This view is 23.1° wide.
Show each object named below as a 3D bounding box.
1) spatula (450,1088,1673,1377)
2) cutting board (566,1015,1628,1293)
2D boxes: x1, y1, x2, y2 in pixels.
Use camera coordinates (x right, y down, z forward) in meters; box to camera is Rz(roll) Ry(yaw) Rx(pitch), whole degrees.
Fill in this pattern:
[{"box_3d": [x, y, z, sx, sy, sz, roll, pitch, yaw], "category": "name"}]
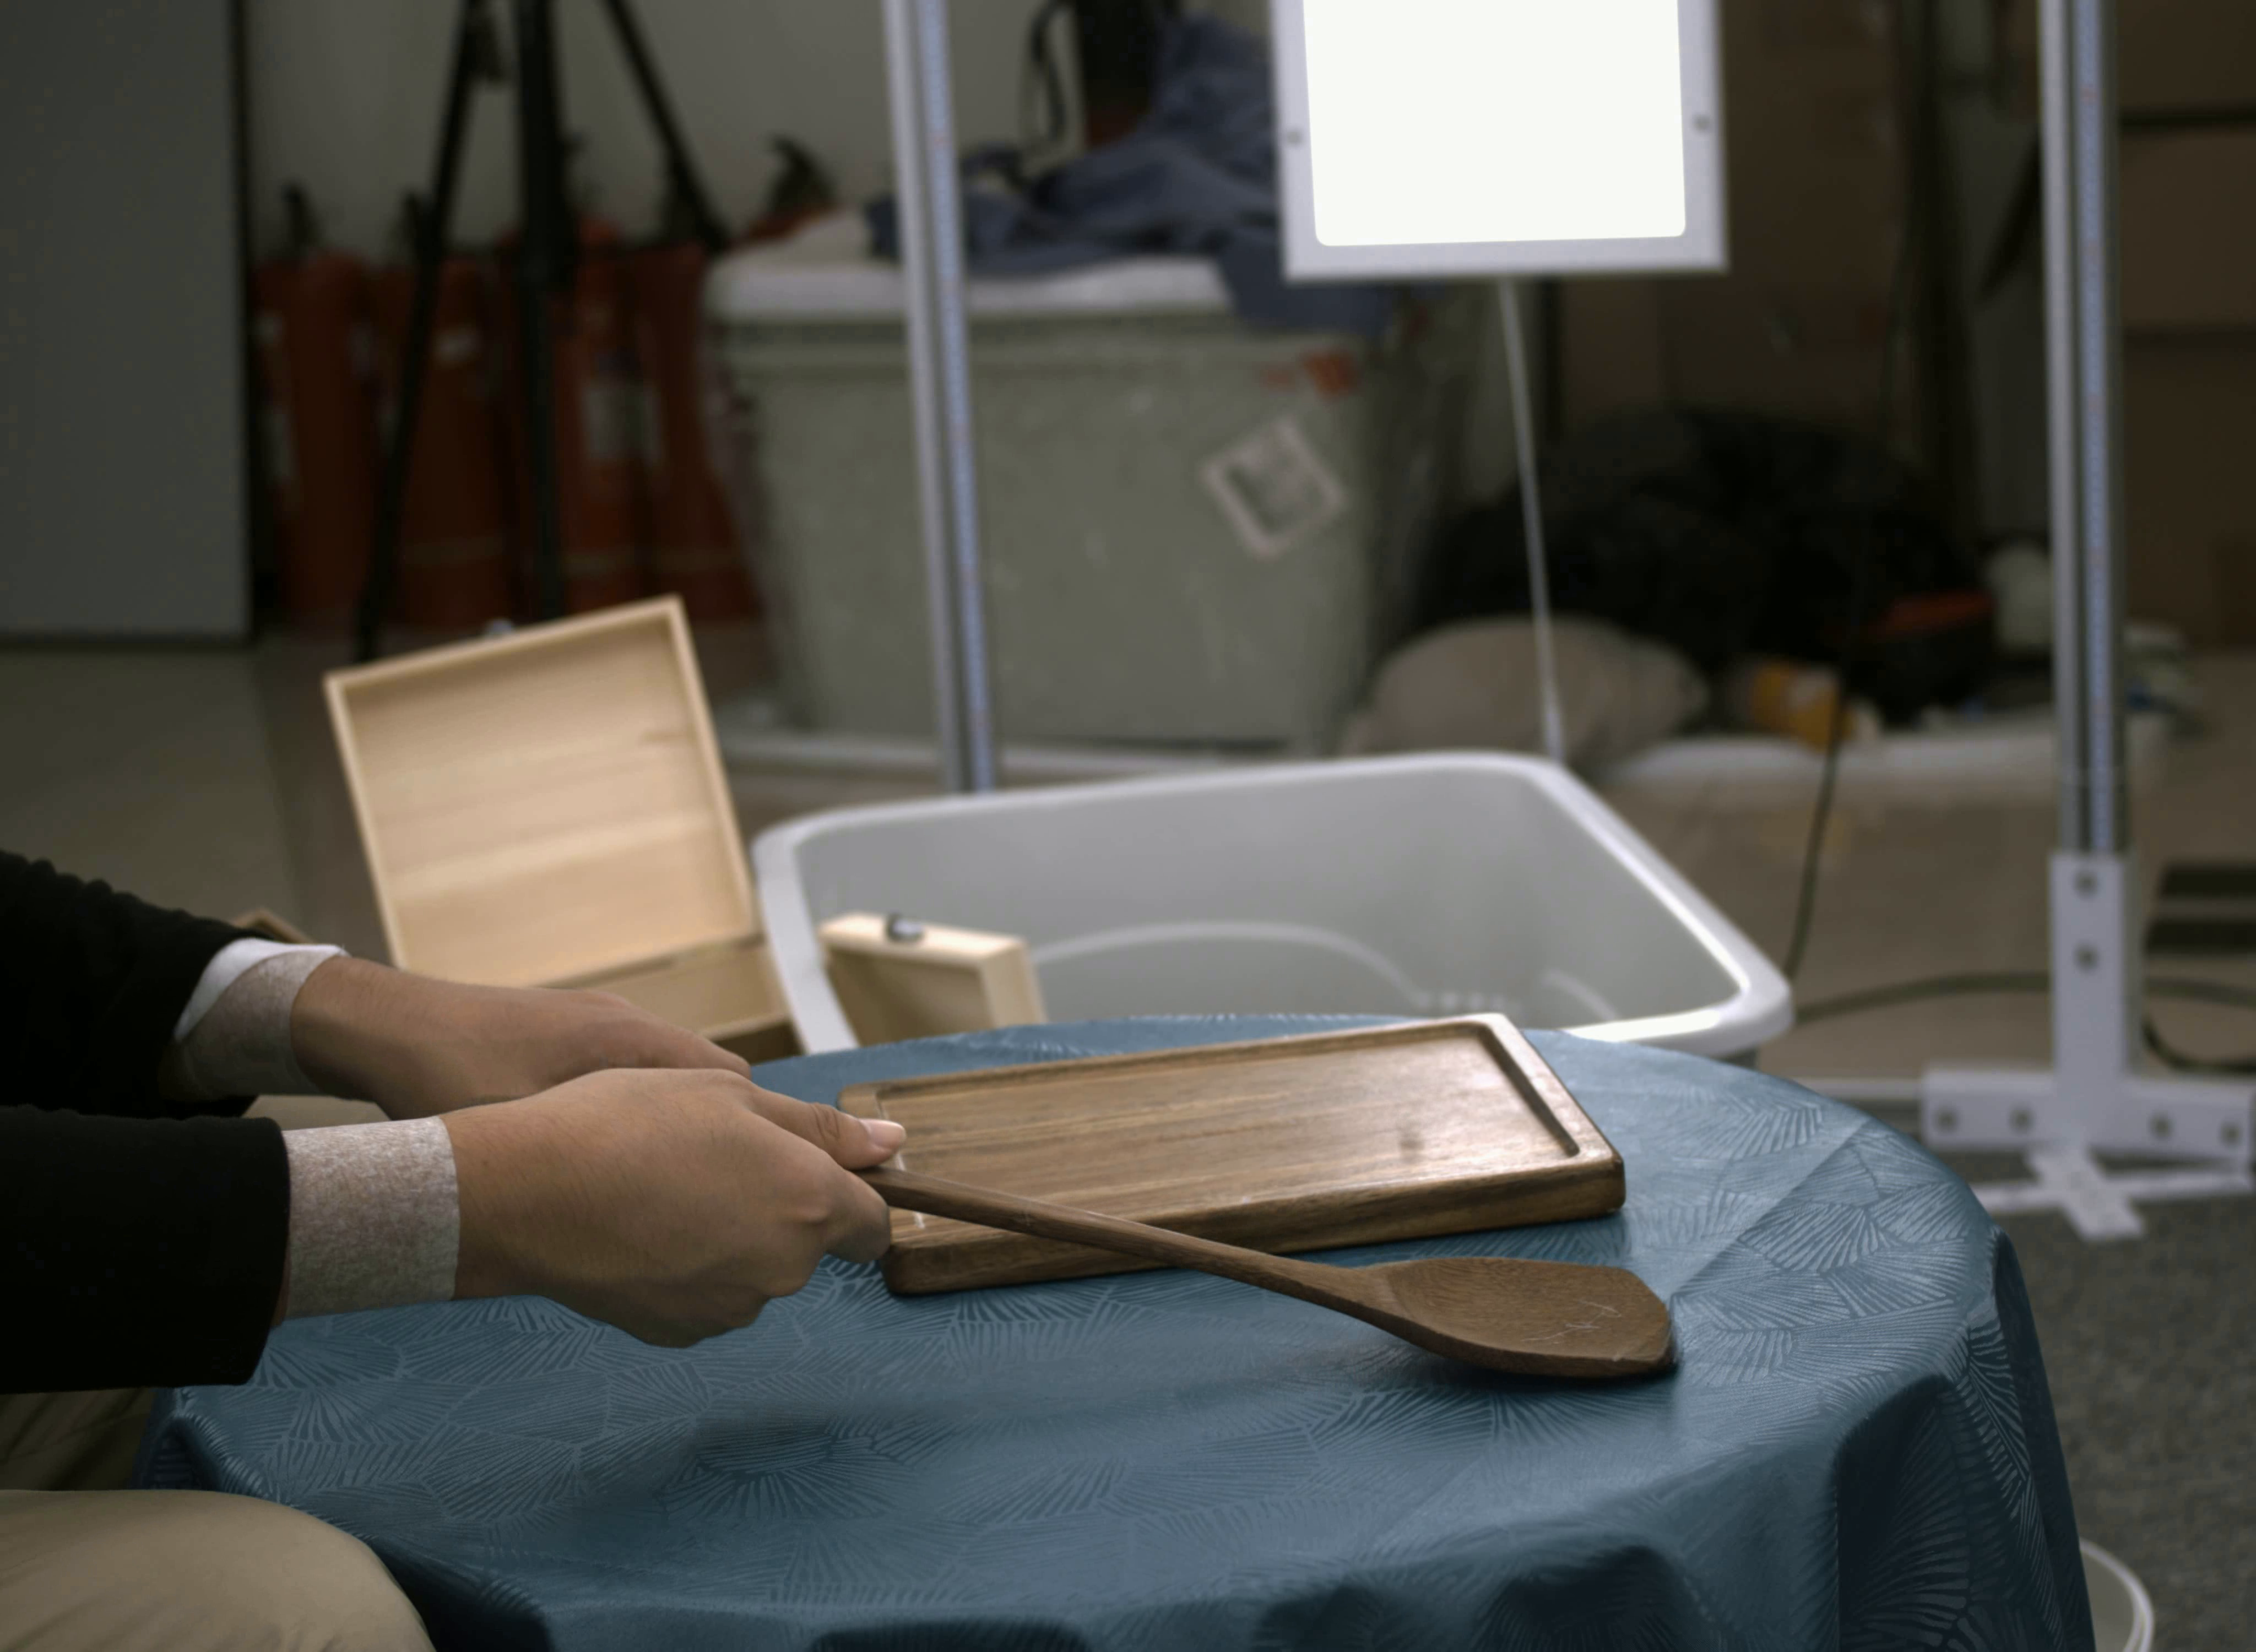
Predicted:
[{"box_3d": [-0.019, 0.122, 1.702, 0.384, 0.016, 0.096, 12, 14, -2], "category": "spatula"}, {"box_3d": [-0.019, 0.116, 1.903, 0.350, 0.023, 0.201, -6, 13, -5], "category": "cutting board"}]
